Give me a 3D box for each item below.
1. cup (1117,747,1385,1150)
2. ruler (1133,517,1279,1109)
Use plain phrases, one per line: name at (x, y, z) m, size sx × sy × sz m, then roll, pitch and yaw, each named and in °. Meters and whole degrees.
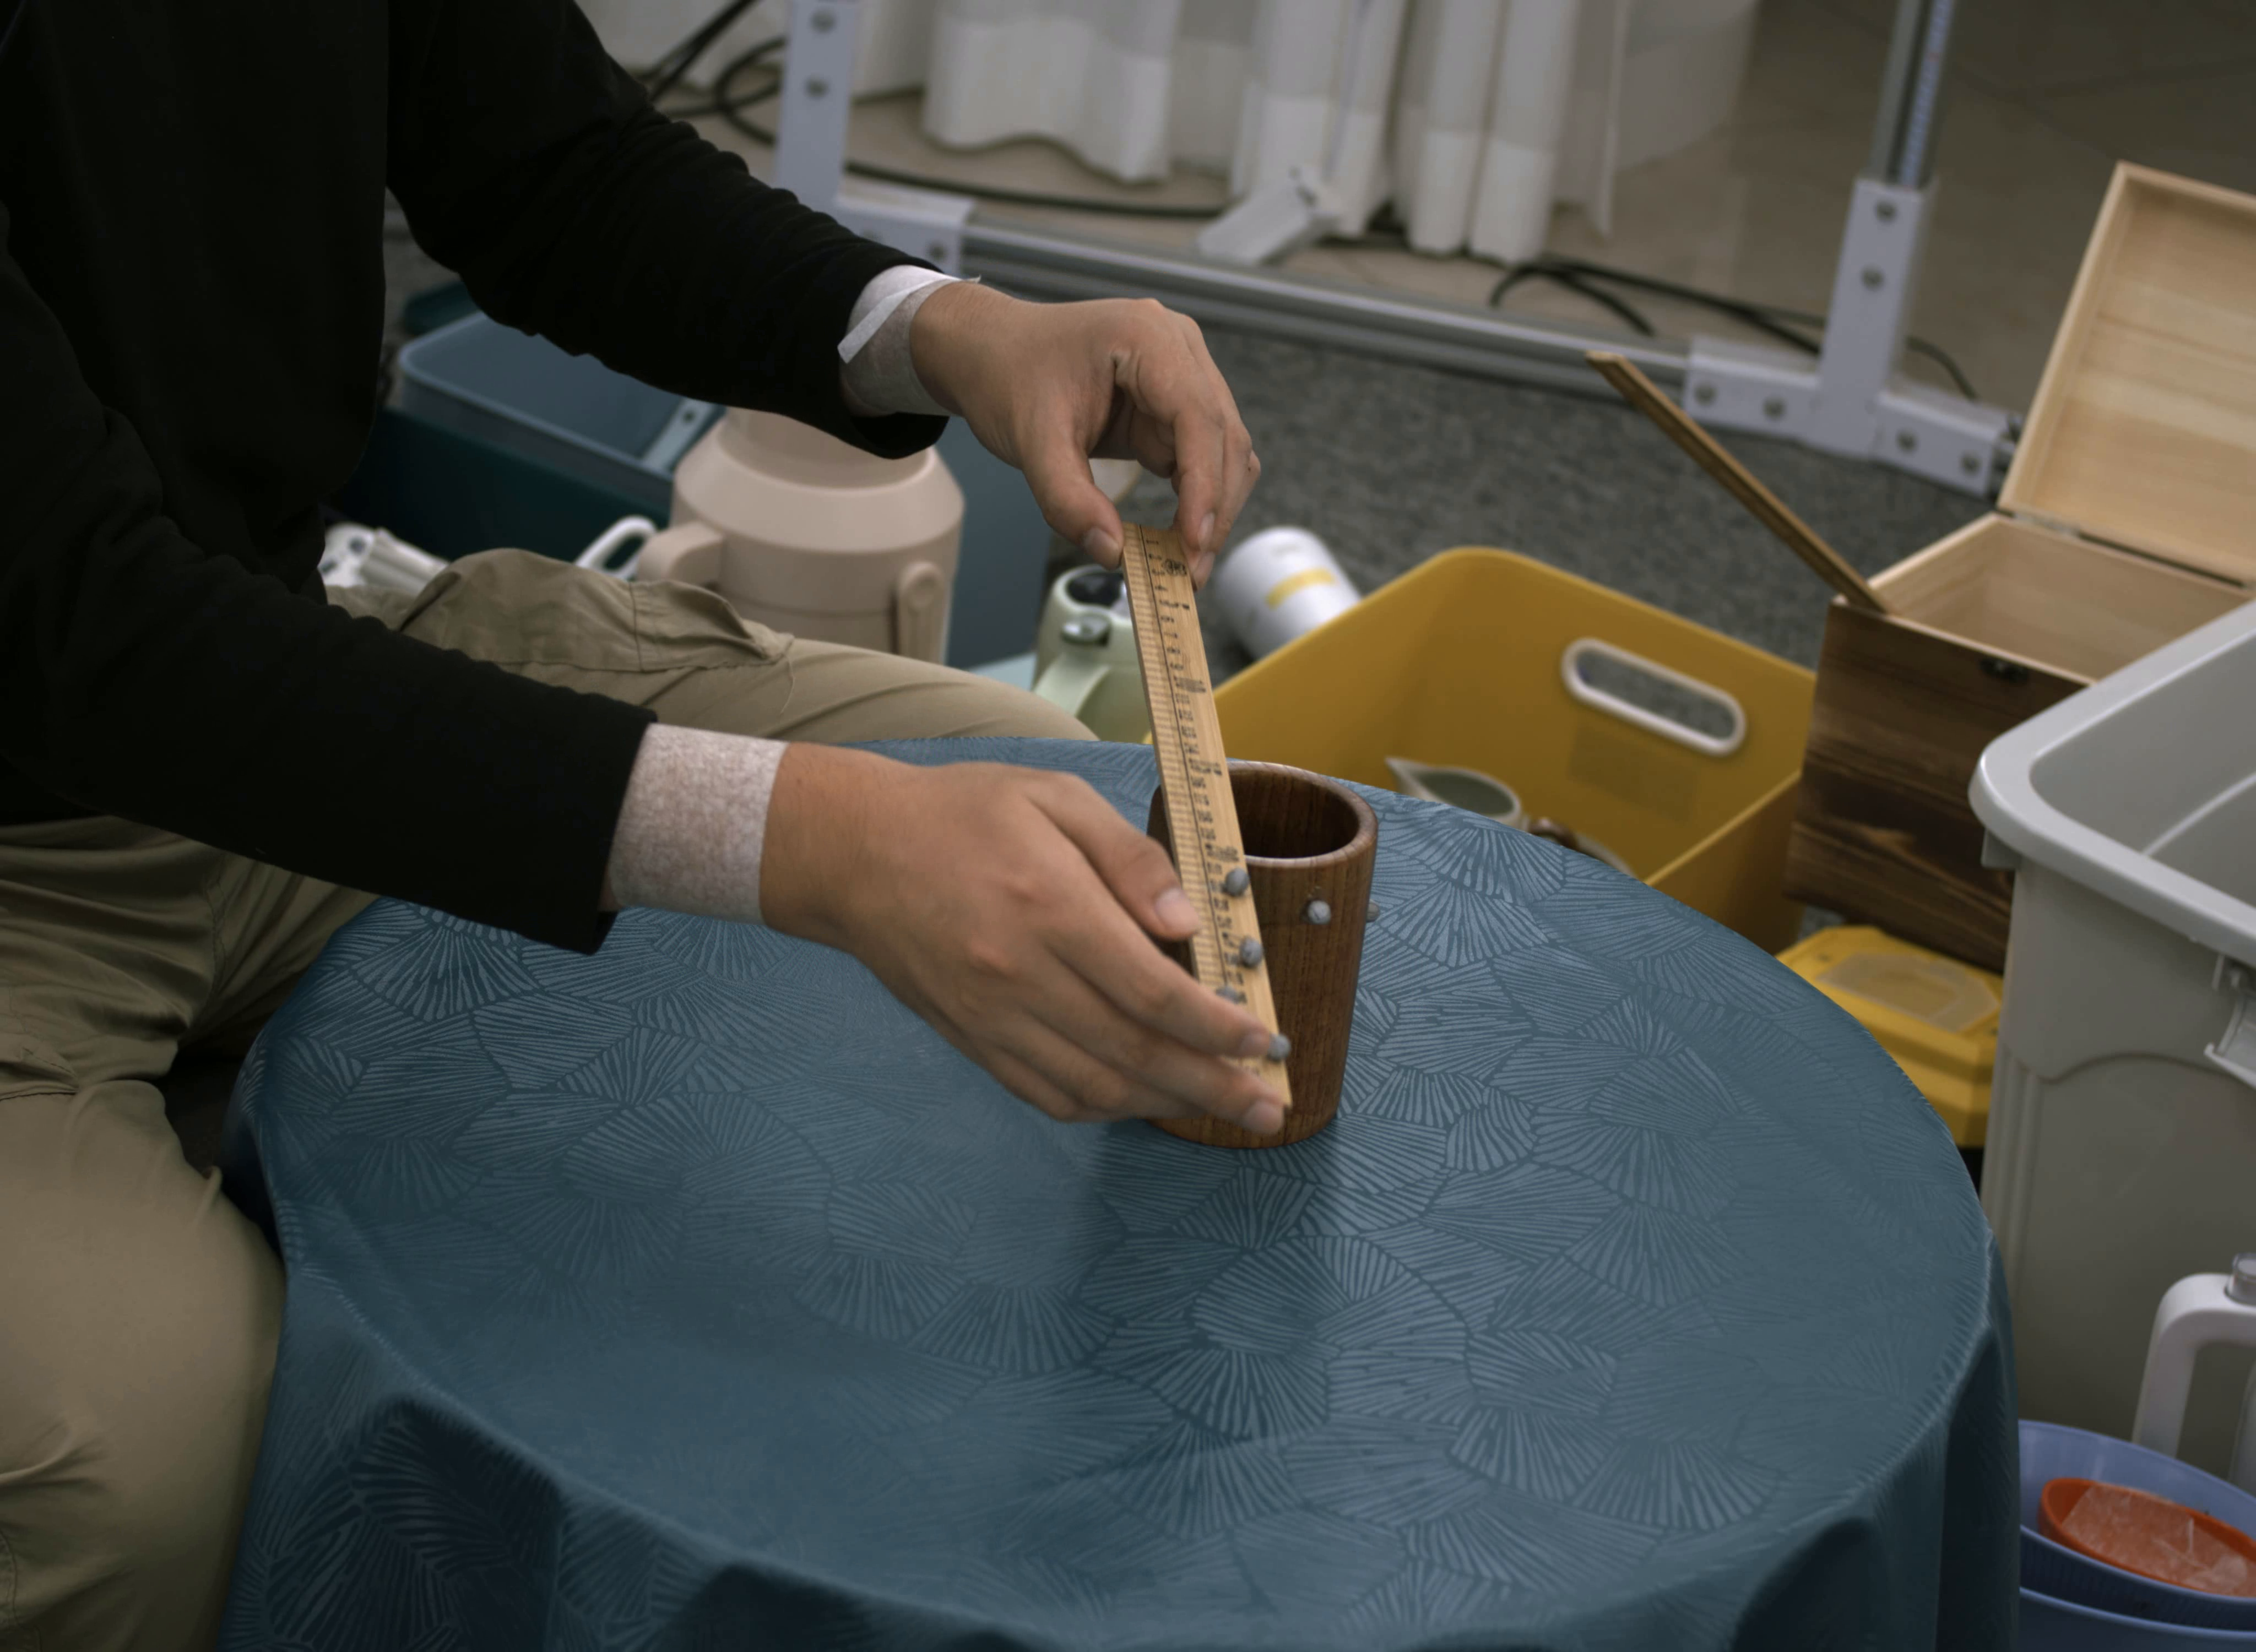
cup at (0.042, 0.043, 1.842) m, size 0.087 × 0.118 × 0.088 m, roll 5°, pitch 26°, yaw -3°
ruler at (0.025, -0.014, 1.800) m, size 0.027 × 0.022 × 0.334 m, roll 15°, pitch 33°, yaw -15°
